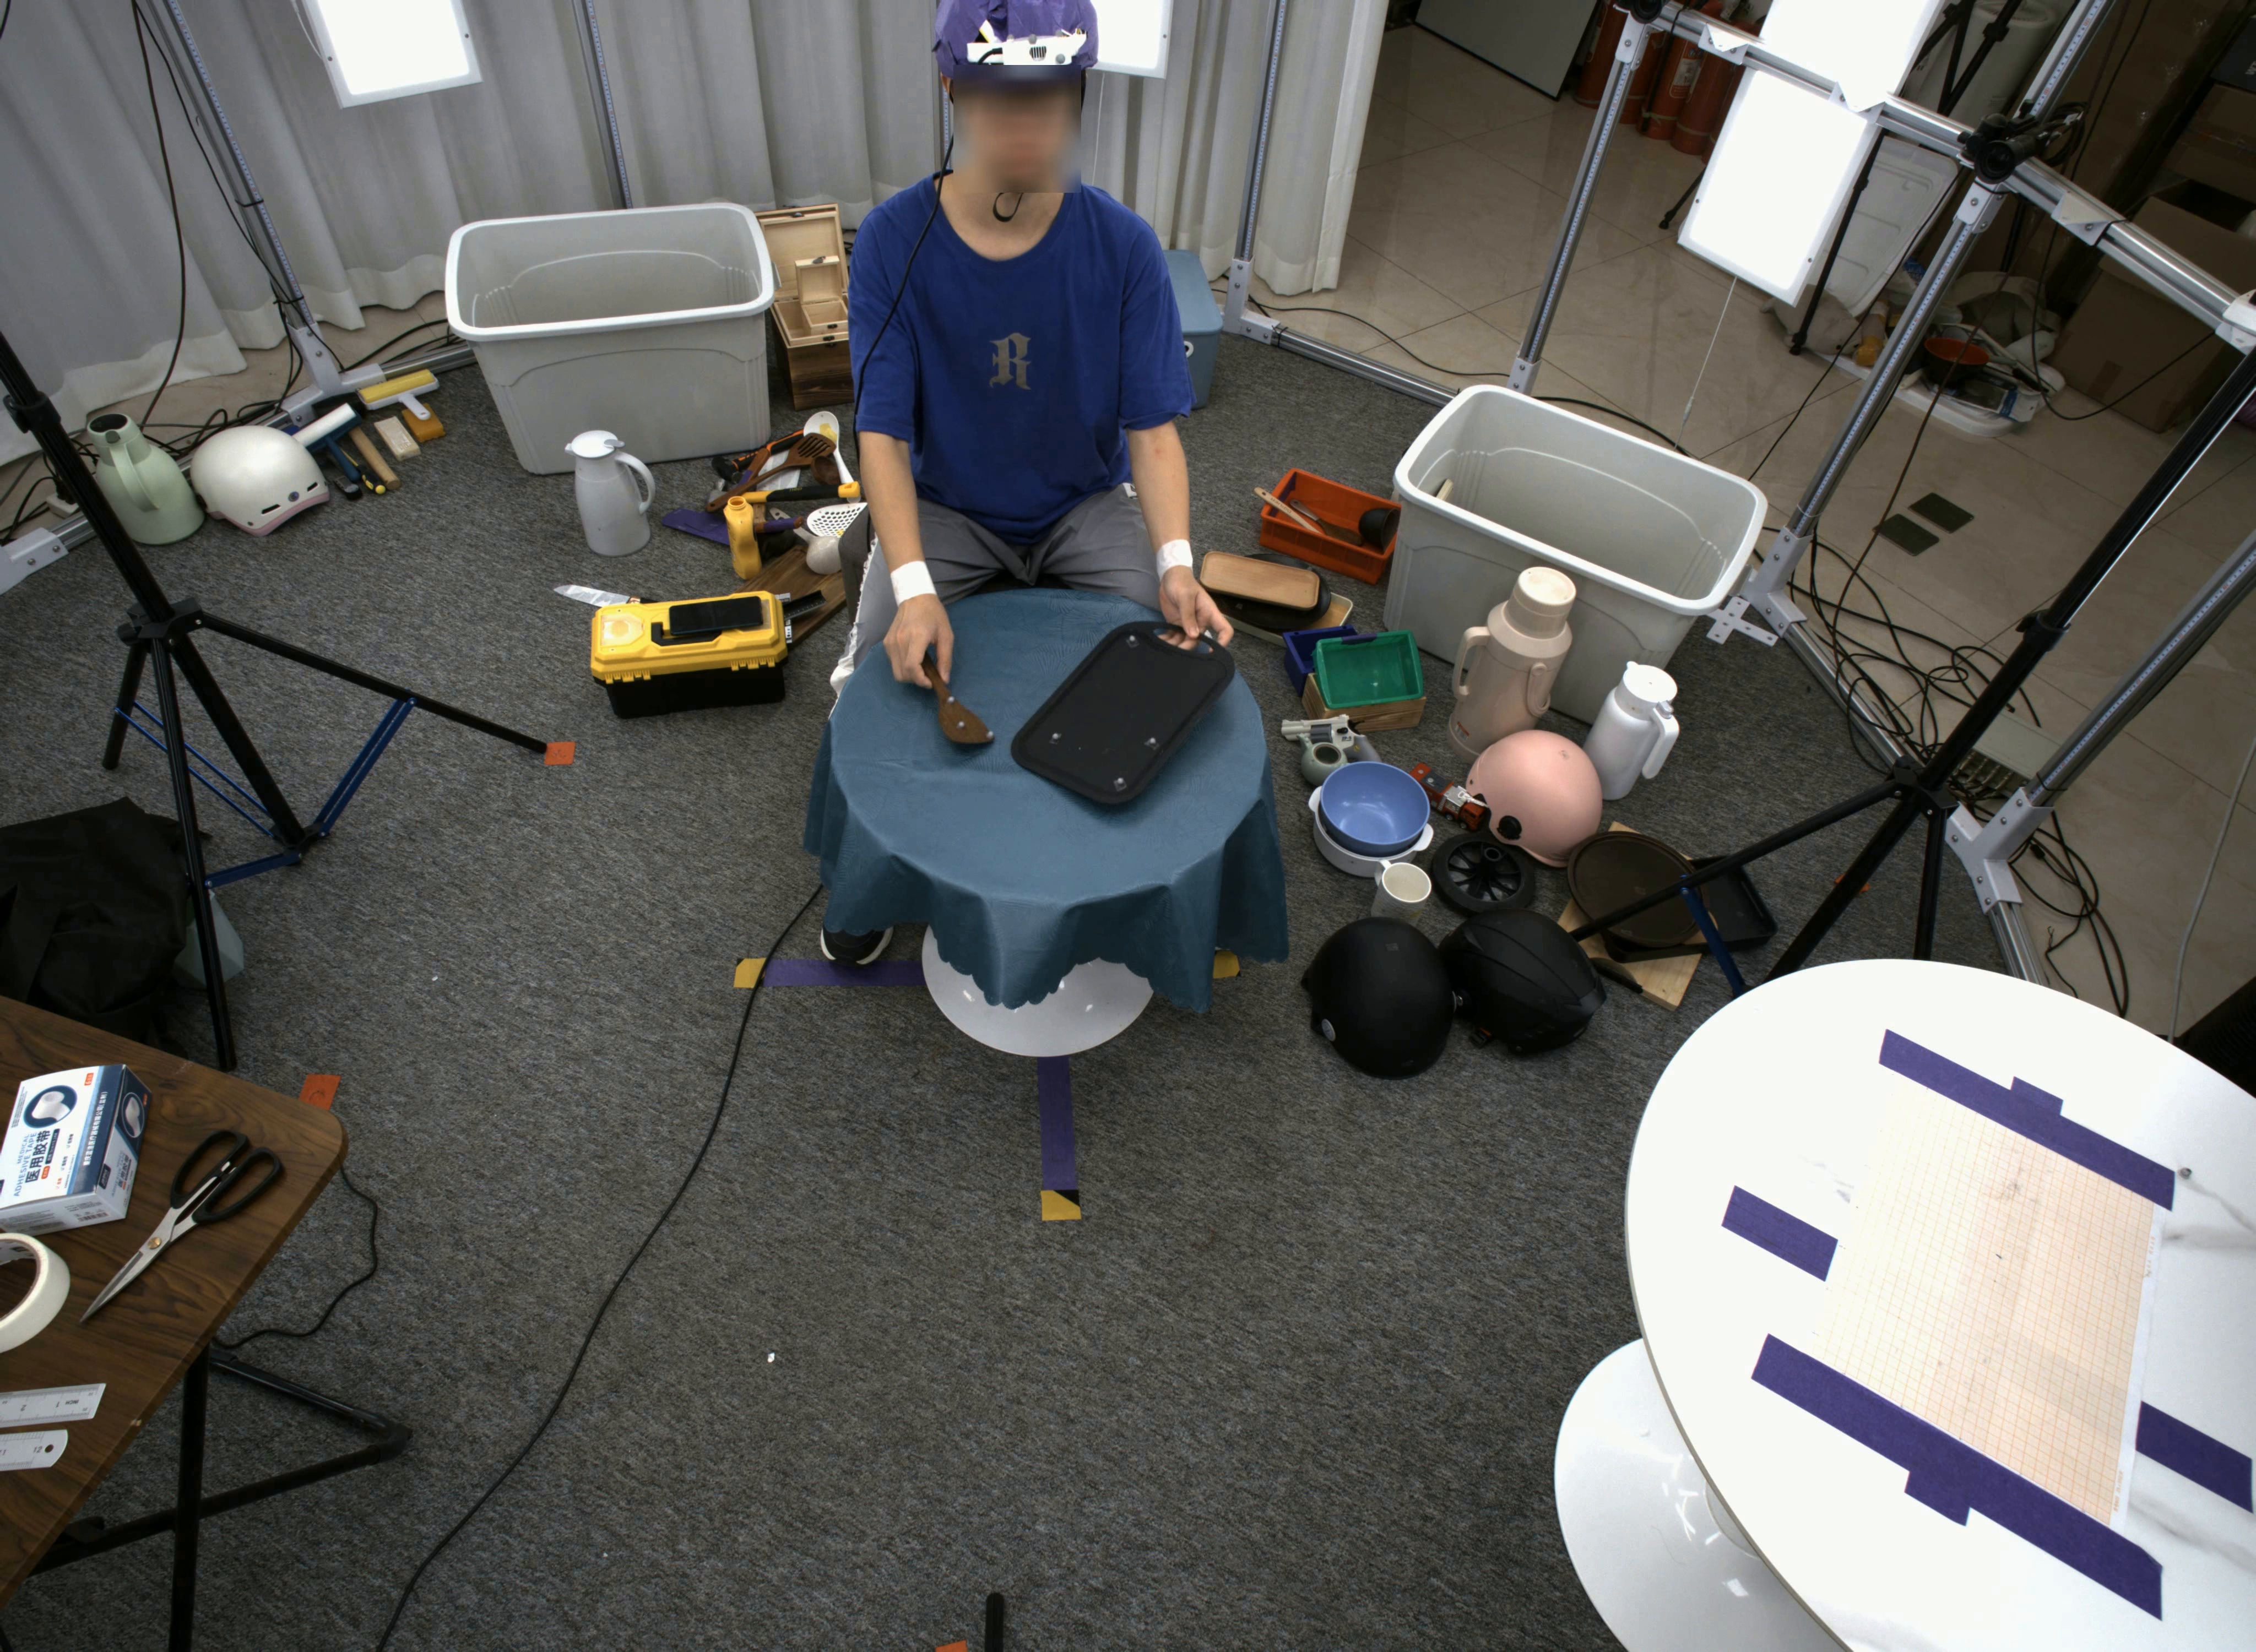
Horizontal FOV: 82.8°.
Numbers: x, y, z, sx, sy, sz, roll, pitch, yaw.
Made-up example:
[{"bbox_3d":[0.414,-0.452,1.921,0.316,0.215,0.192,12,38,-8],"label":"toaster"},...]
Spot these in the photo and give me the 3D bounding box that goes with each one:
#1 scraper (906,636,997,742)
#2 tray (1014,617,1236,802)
[{"bbox_3d":[-0.255,-0.191,1.782,0.075,0.010,0.215,-4,50,-41],"label":"scraper"},{"bbox_3d":[0.001,-0.175,1.775,0.213,0.009,0.329,25,61,27],"label":"tray"}]
